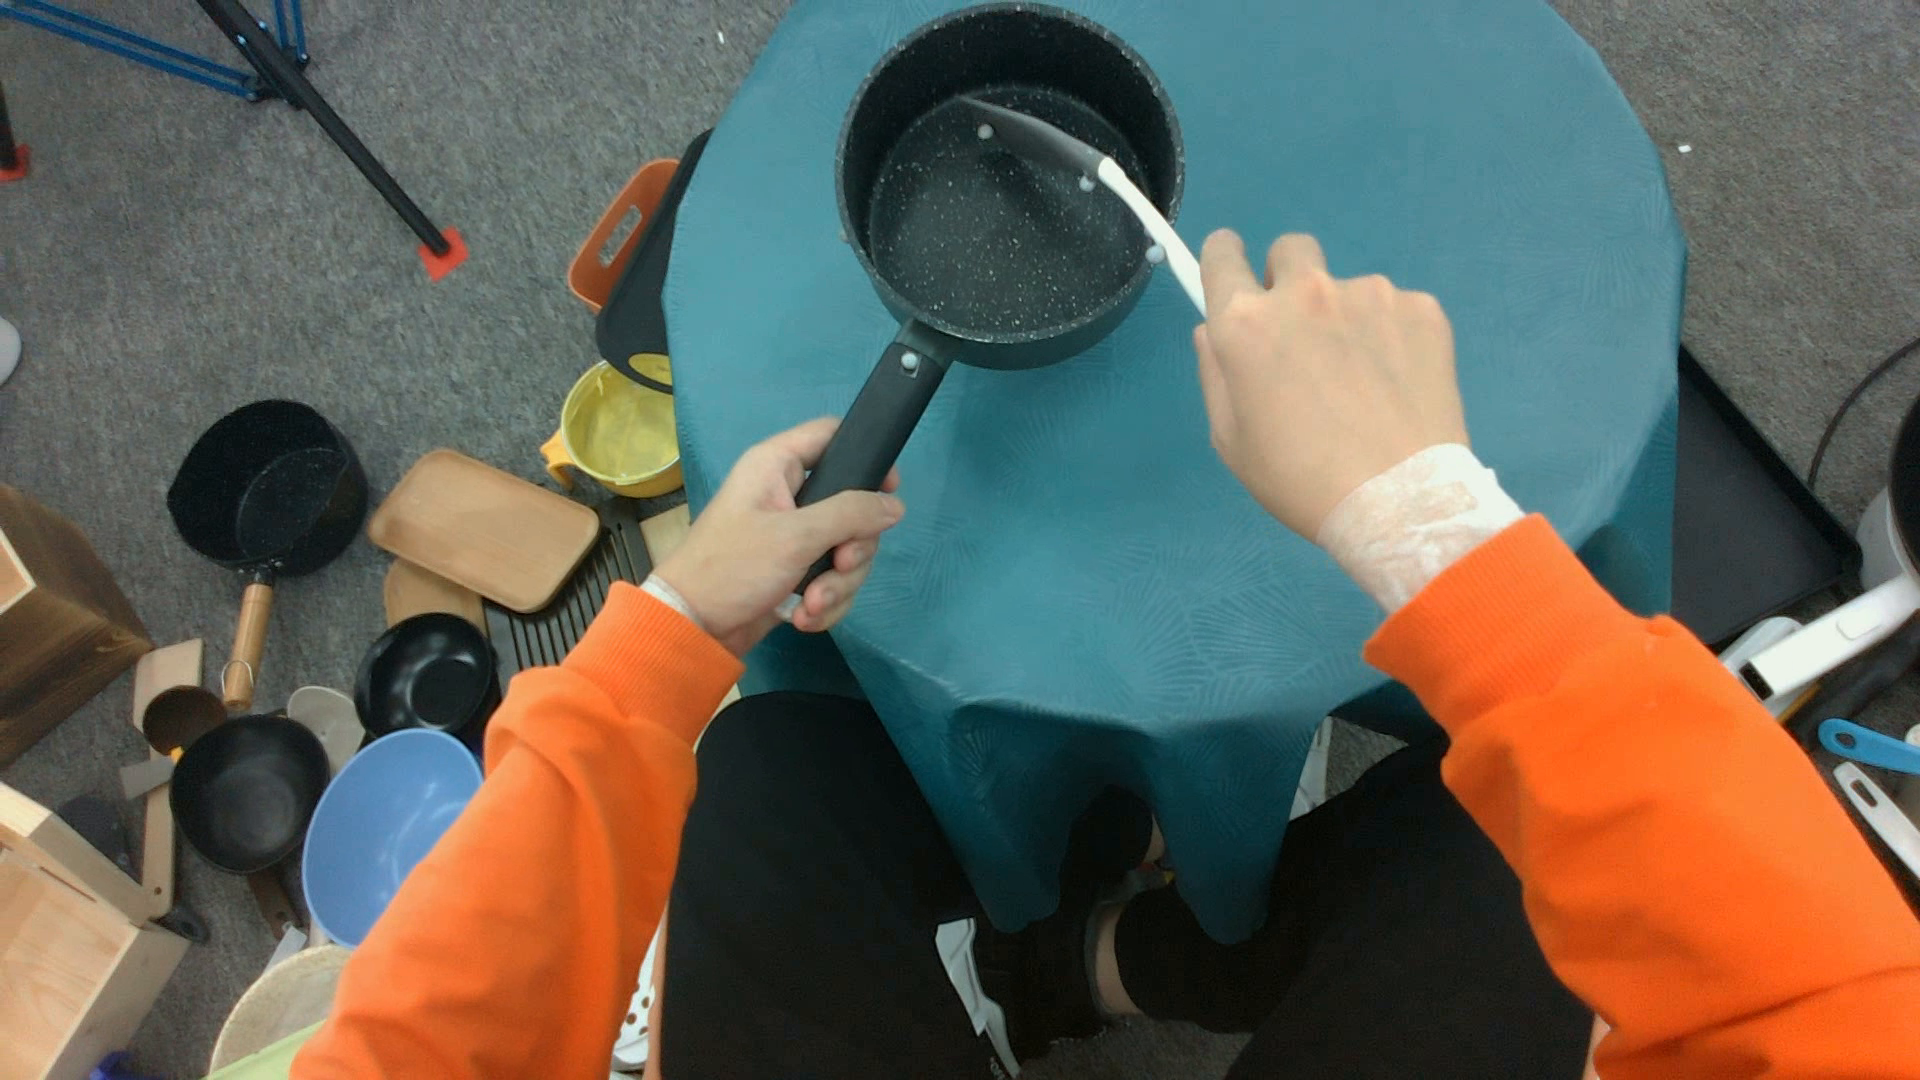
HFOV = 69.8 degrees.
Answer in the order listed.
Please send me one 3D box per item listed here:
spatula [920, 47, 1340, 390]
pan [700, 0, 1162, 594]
[{"bbox_3d":[0.066,-0.157,0.629,0.032,0.058,0.288,-41,51,1],"label":"spatula"},{"bbox_3d":[-0.024,-0.114,0.697,0.172,0.086,0.329,29,82,8],"label":"pan"}]
